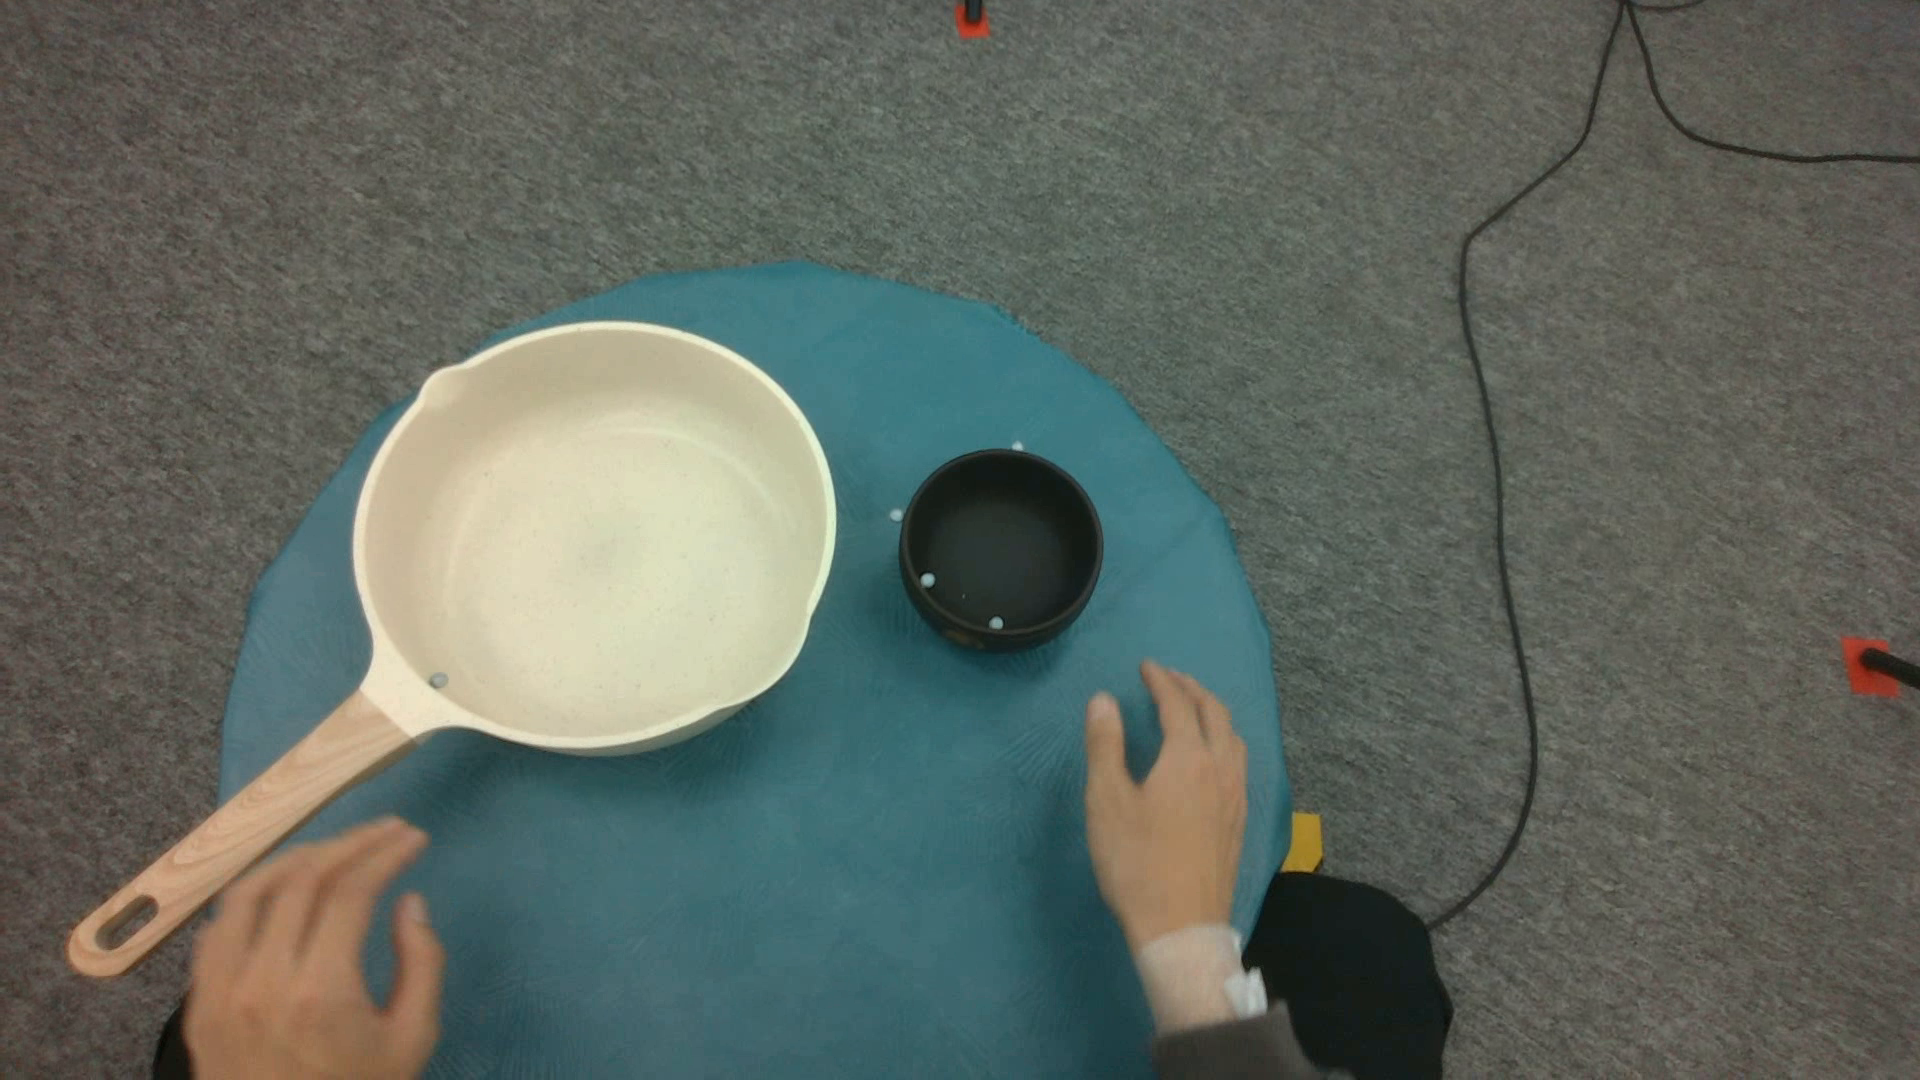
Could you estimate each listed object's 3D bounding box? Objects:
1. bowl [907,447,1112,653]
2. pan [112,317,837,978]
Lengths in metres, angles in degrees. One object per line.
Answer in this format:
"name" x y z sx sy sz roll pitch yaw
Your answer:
"bowl" 0.027 0.011 0.811 0.118 0.069 0.118 2 67 -5
"pan" -0.255 0.062 0.754 0.263 0.101 0.436 39 70 10
